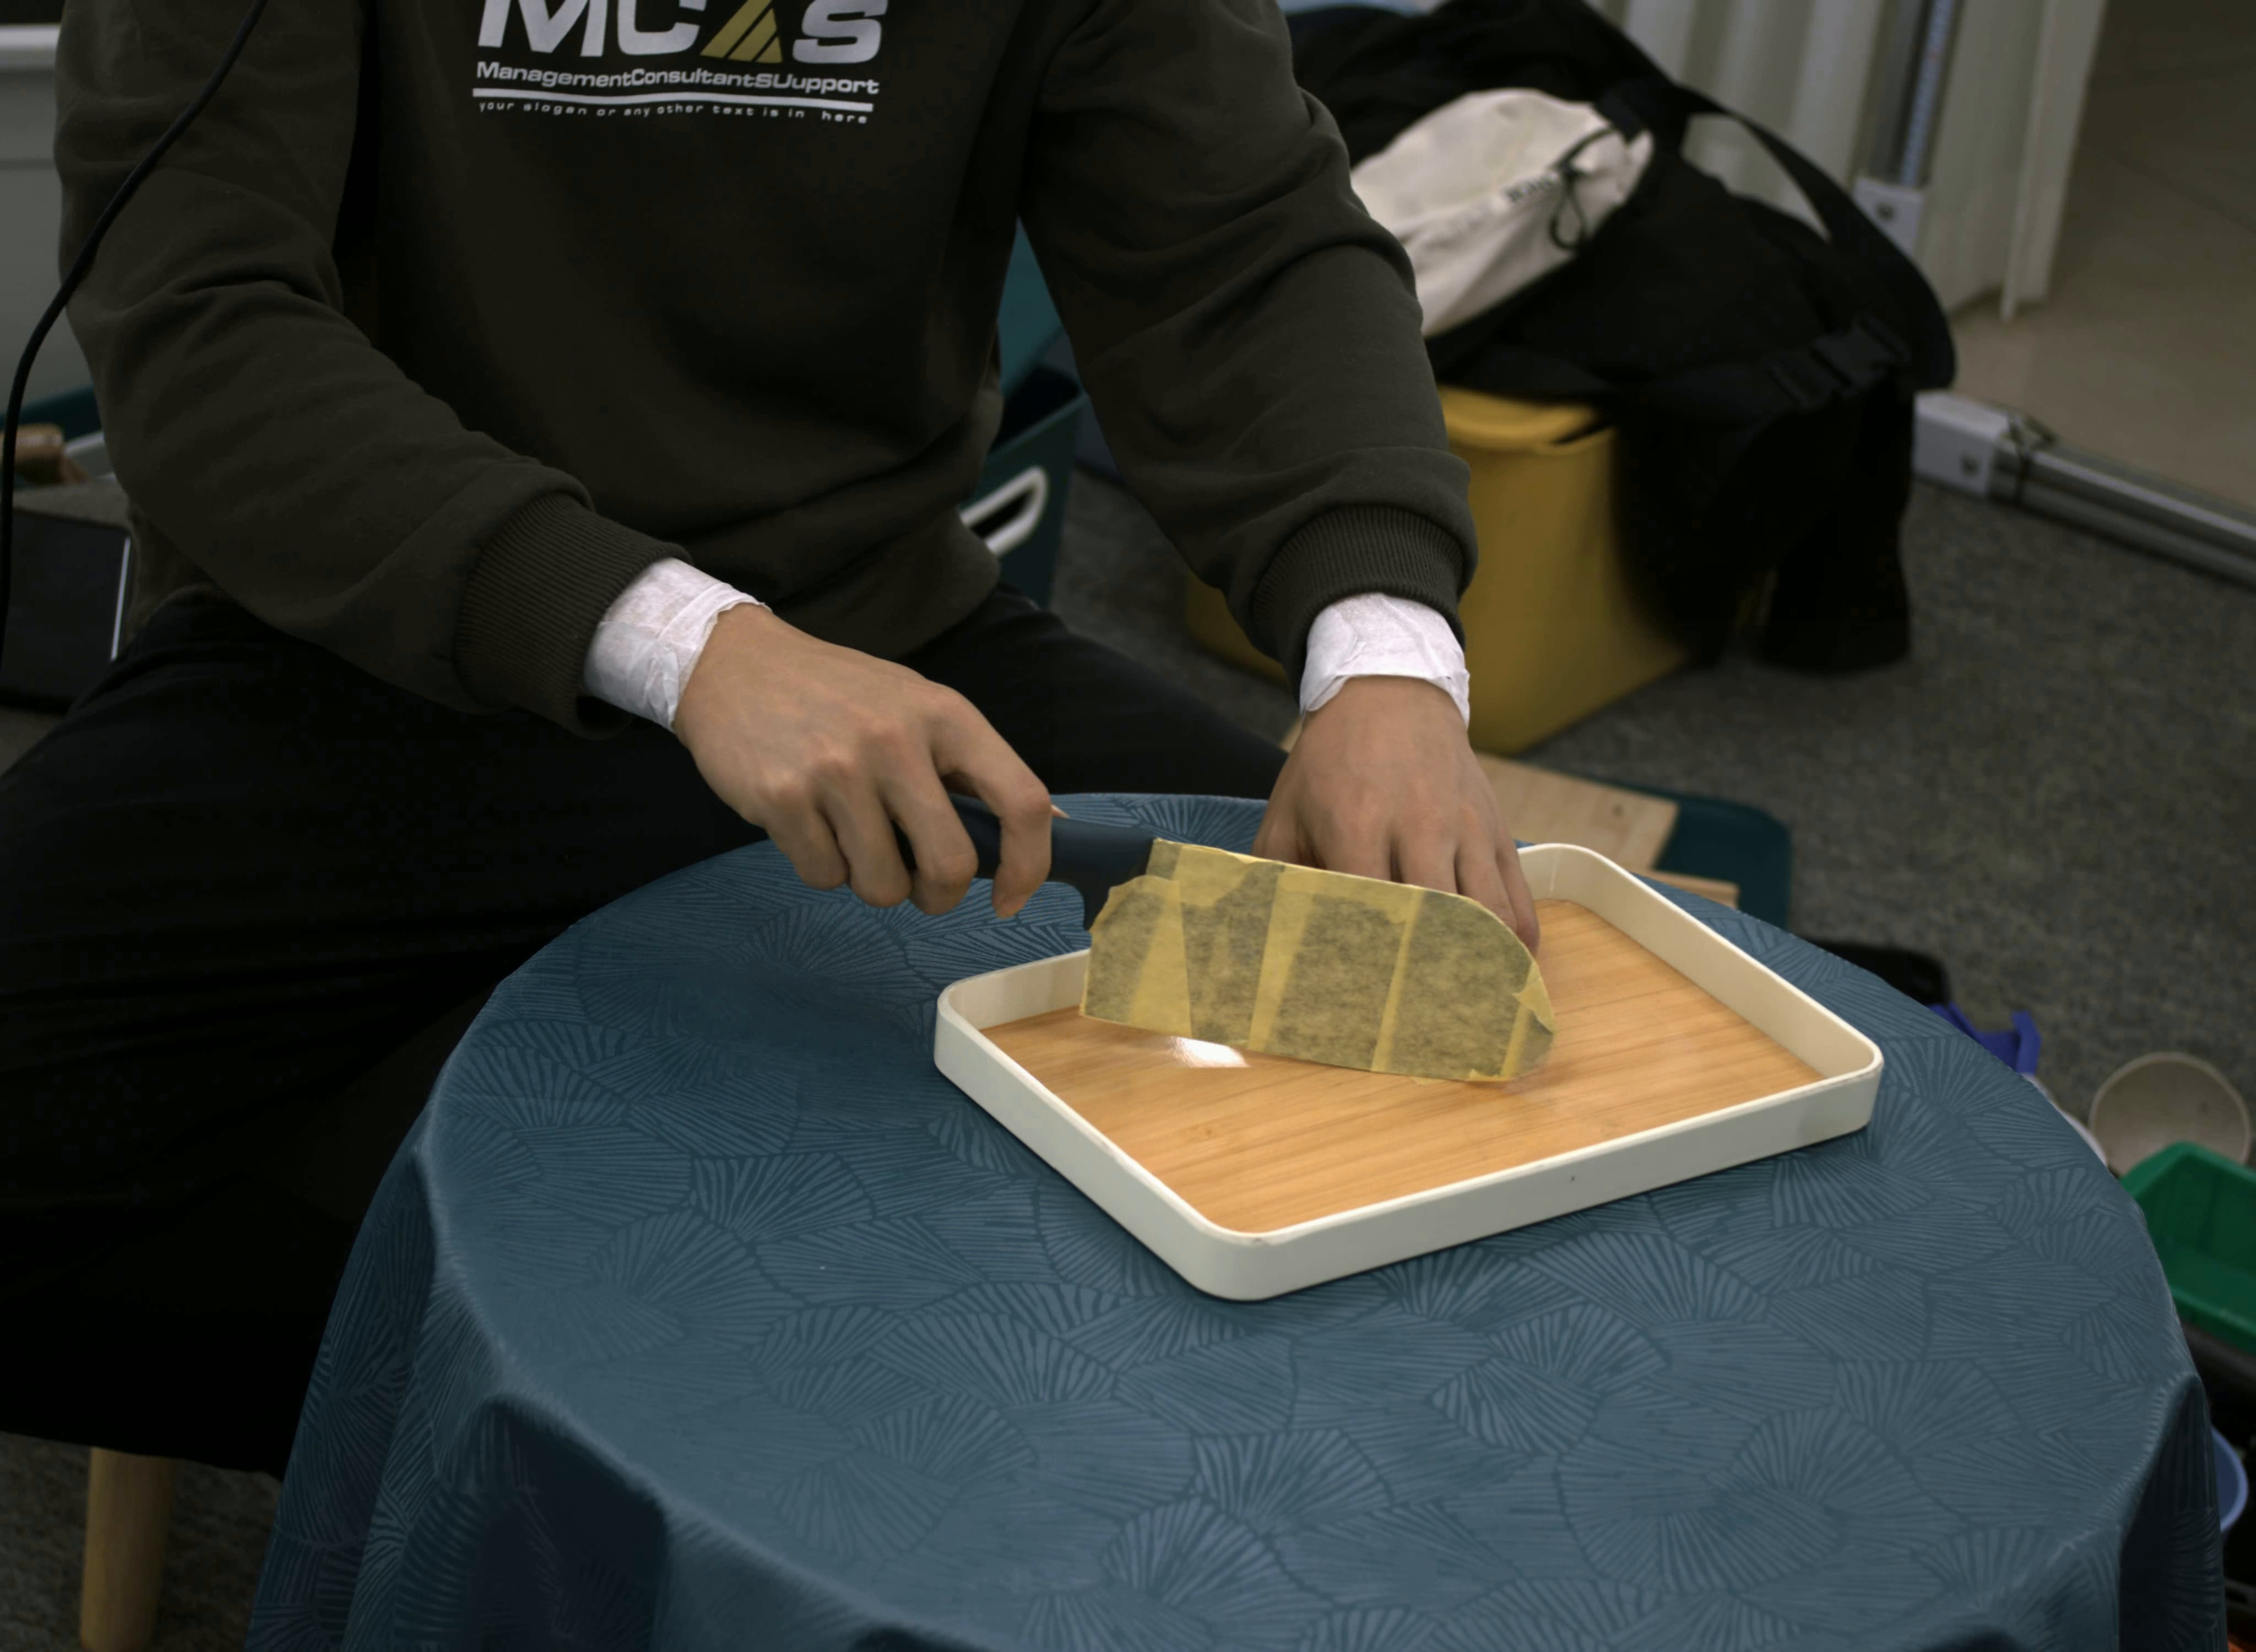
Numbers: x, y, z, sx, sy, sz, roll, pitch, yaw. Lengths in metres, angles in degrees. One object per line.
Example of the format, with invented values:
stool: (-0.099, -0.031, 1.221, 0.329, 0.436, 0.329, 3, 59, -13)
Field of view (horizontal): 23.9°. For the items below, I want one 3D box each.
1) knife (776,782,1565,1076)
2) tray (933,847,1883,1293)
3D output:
knife: (0.014, 0.036, 1.870, 0.289, 0.081, 0.027, 14, 17, 0)
tray: (0.100, 0.082, 1.882, 0.298, 0.027, 0.193, -12, 31, -33)
